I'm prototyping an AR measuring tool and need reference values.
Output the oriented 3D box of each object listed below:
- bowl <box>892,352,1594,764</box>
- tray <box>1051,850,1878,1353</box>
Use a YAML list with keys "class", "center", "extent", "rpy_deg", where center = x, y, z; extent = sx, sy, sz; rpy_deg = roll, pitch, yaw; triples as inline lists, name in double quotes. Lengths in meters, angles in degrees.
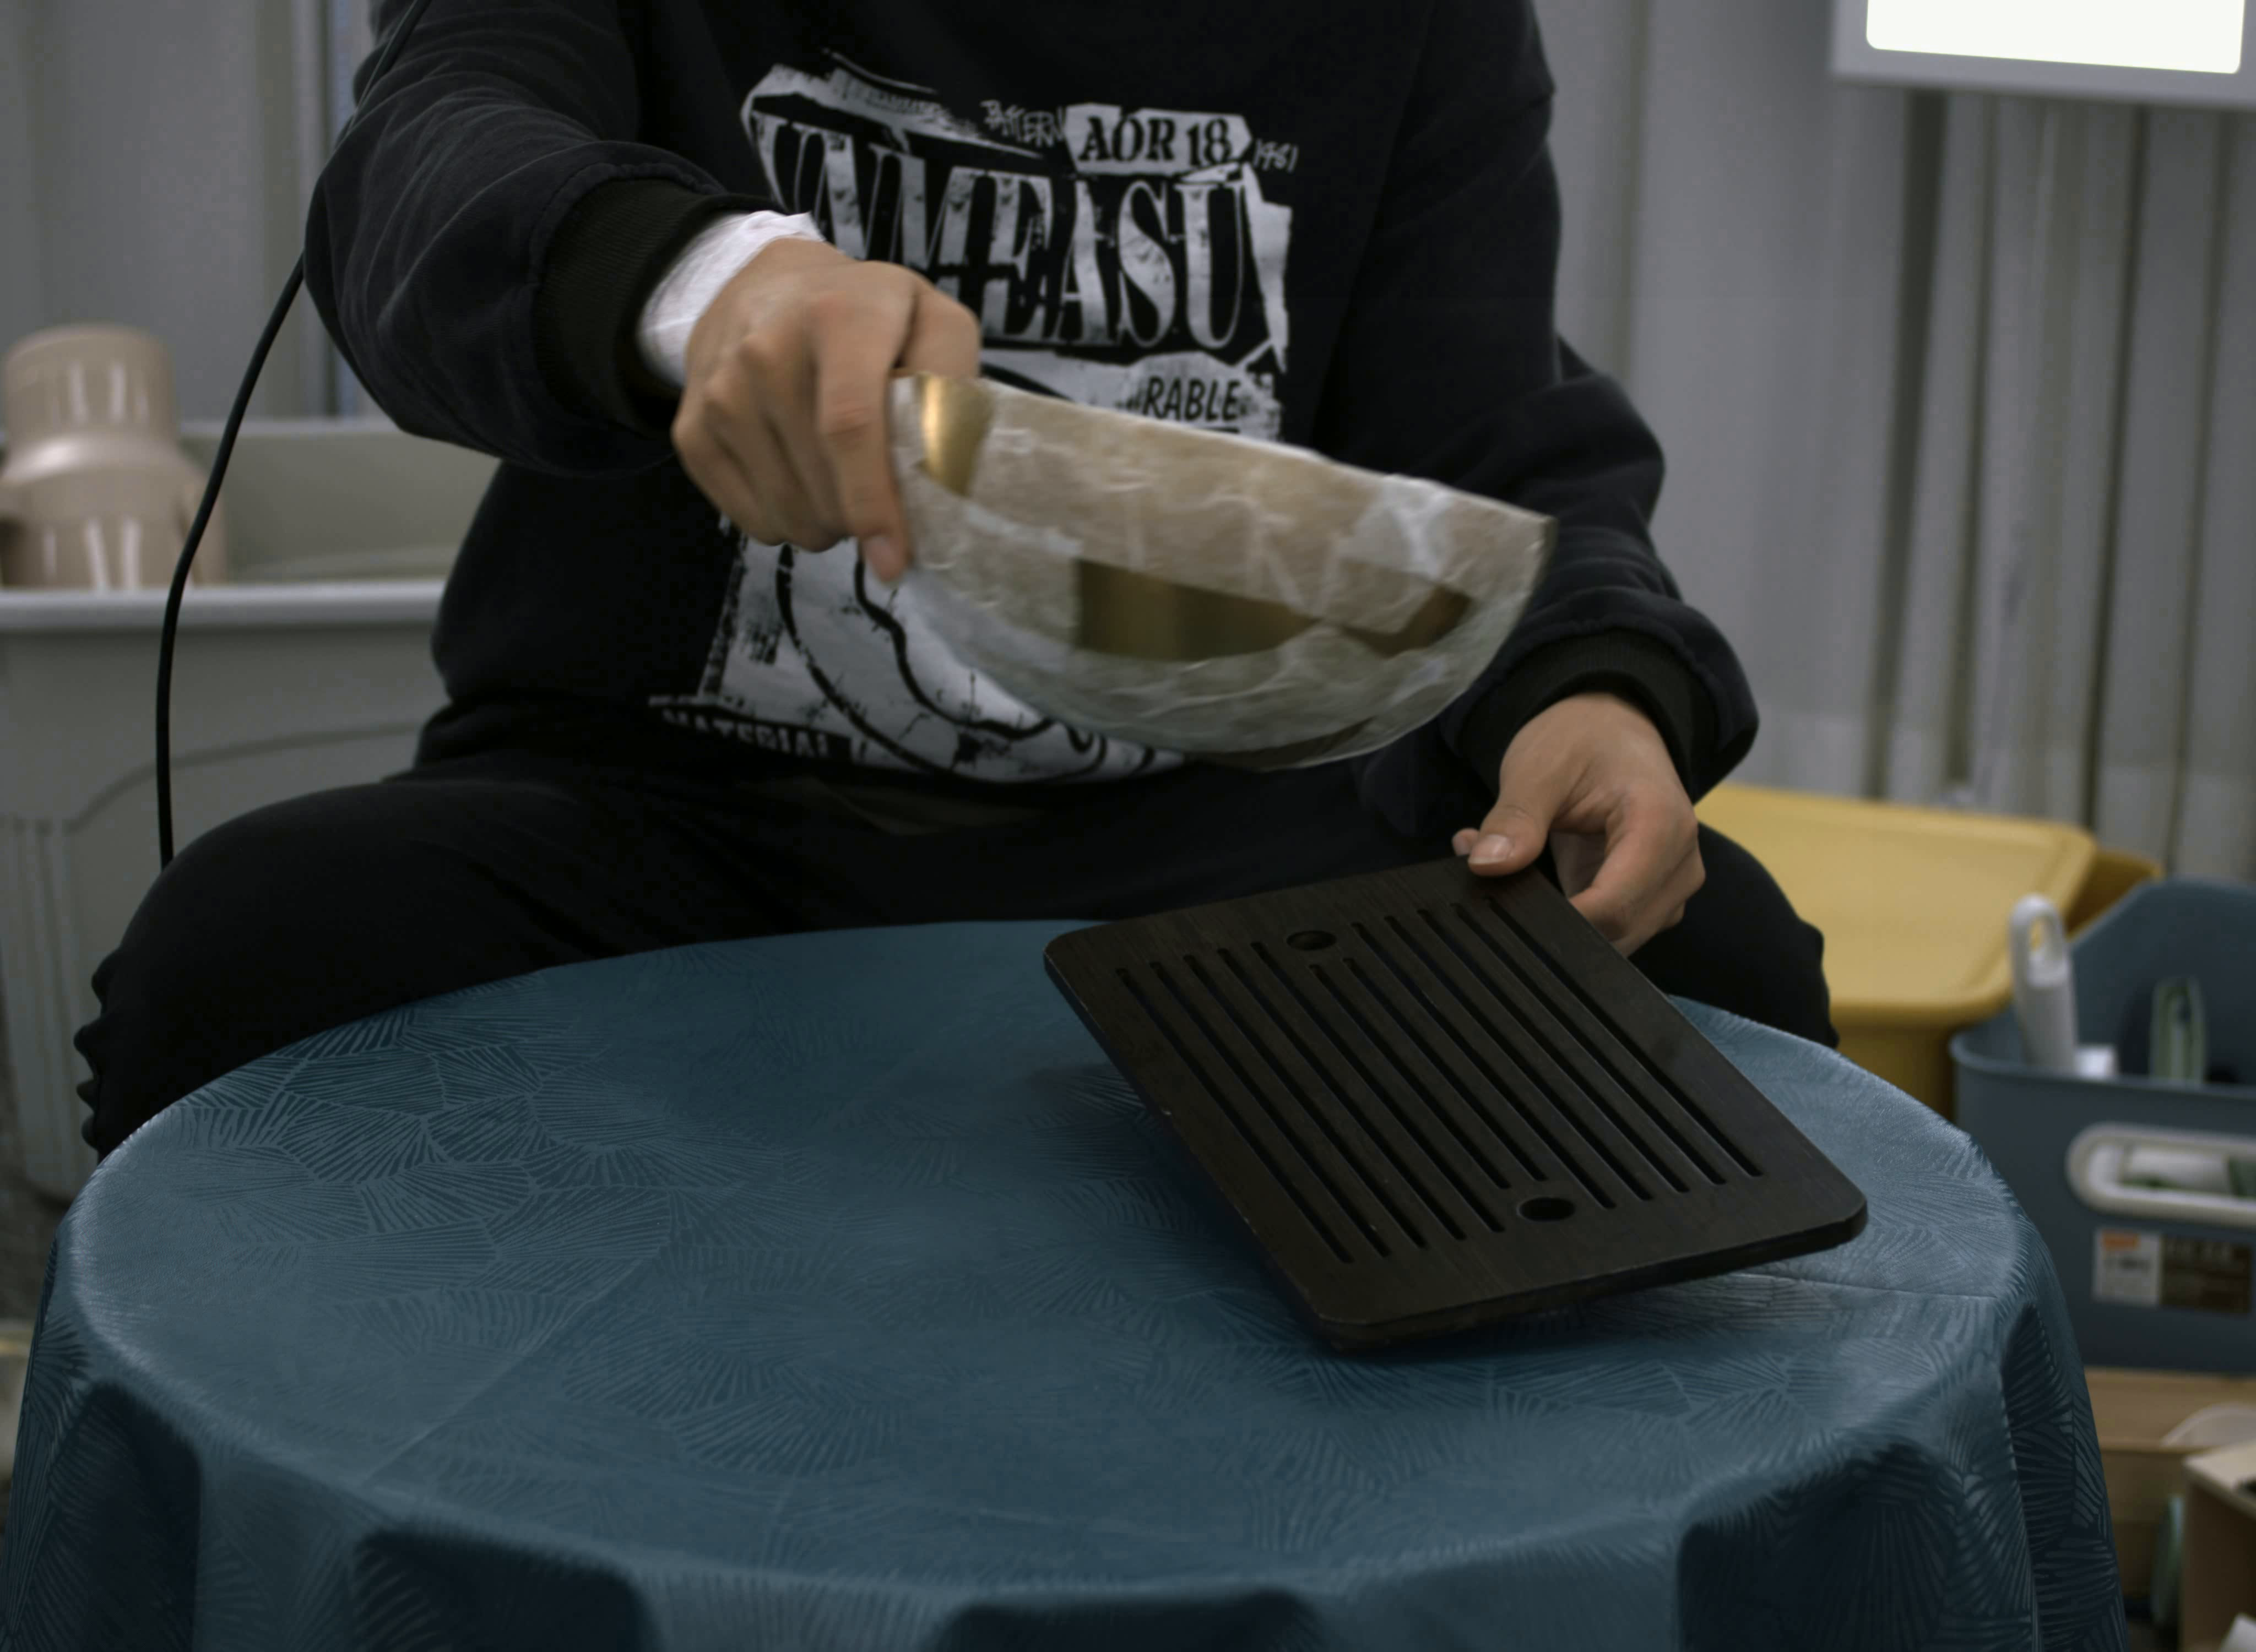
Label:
- class: "bowl"
  center: [0.023, -0.069, 1.535]
  extent: [0.214, 0.095, 0.214]
  rpy_deg: [12, 3, 0]
- class: "tray"
  center: [0.096, 0.081, 1.633]
  extent: [0.170, 0.019, 0.302]
  rpy_deg: [-10, 23, -14]
